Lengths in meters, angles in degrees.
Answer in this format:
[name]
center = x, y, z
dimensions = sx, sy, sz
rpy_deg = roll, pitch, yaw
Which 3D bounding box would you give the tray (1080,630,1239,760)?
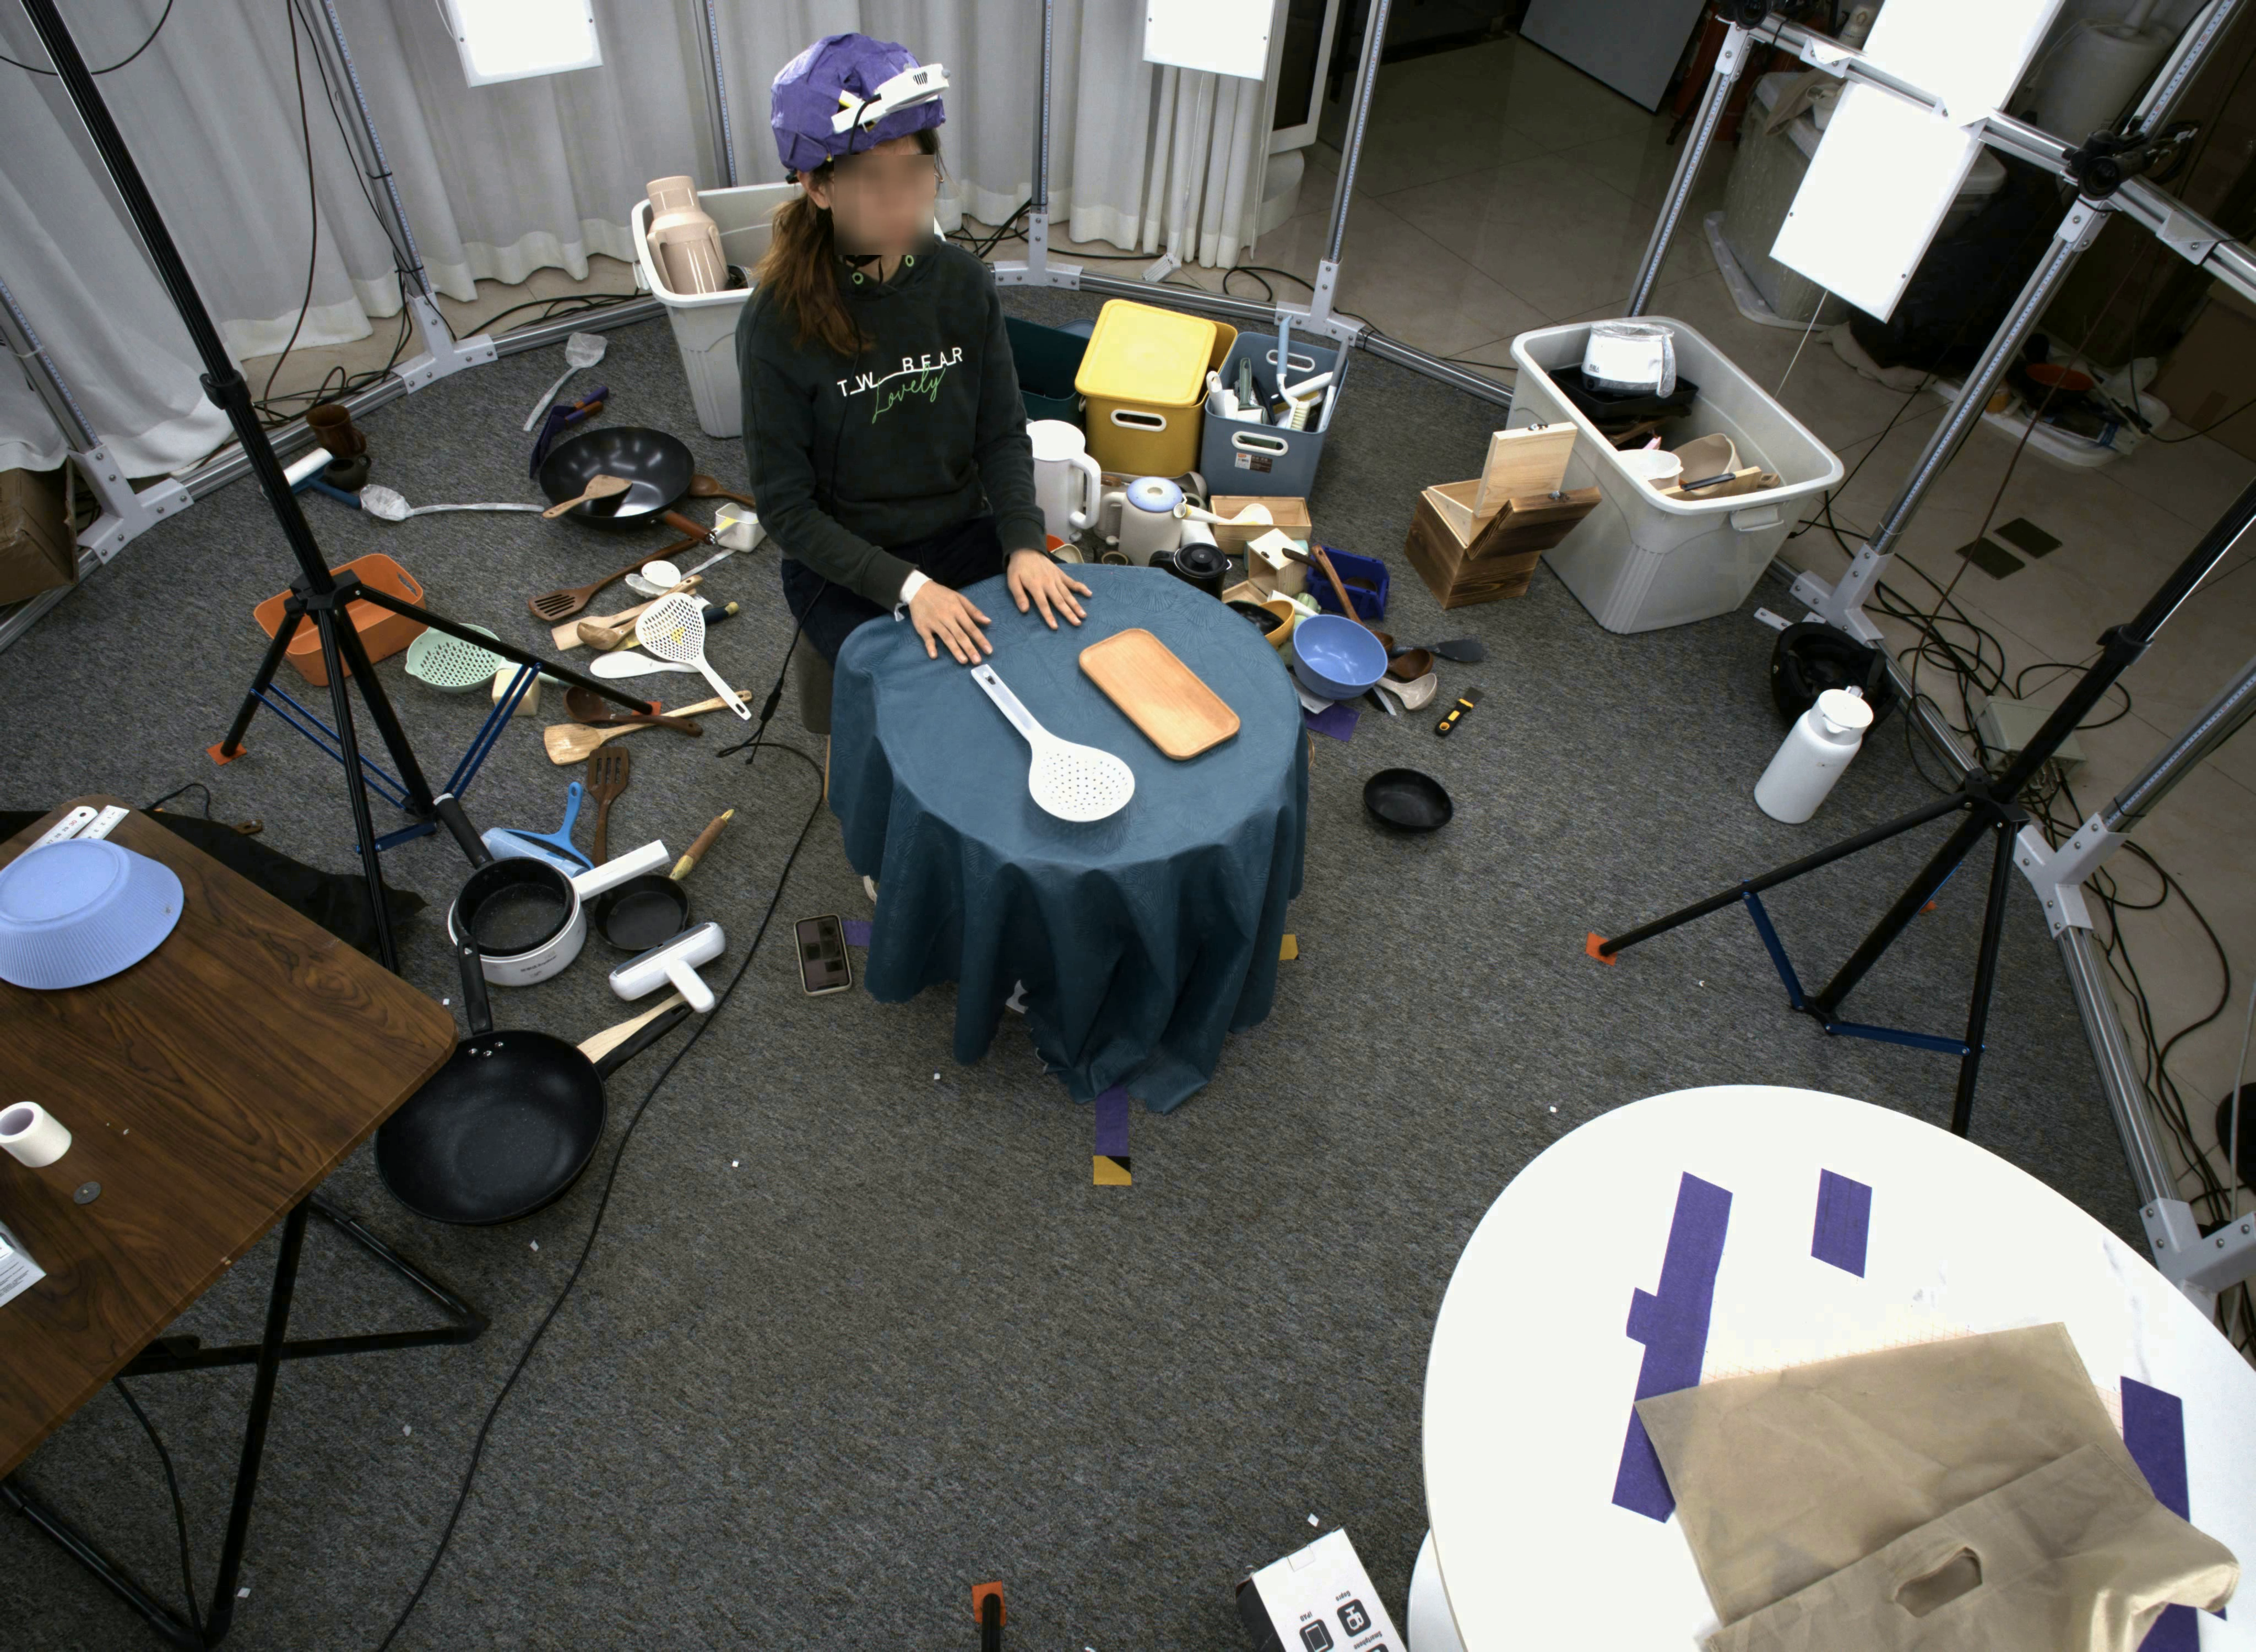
[tray]
center = 0.043, -0.190, 1.842
dimensions = 0.131, 0.022, 0.255
rpy_deg = -25, 54, -26

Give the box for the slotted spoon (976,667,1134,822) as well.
[slotted spoon]
center = -0.118, -0.116, 1.748
dimensions = 0.136, 0.044, 0.357
rpy_deg = -21, 53, -24
